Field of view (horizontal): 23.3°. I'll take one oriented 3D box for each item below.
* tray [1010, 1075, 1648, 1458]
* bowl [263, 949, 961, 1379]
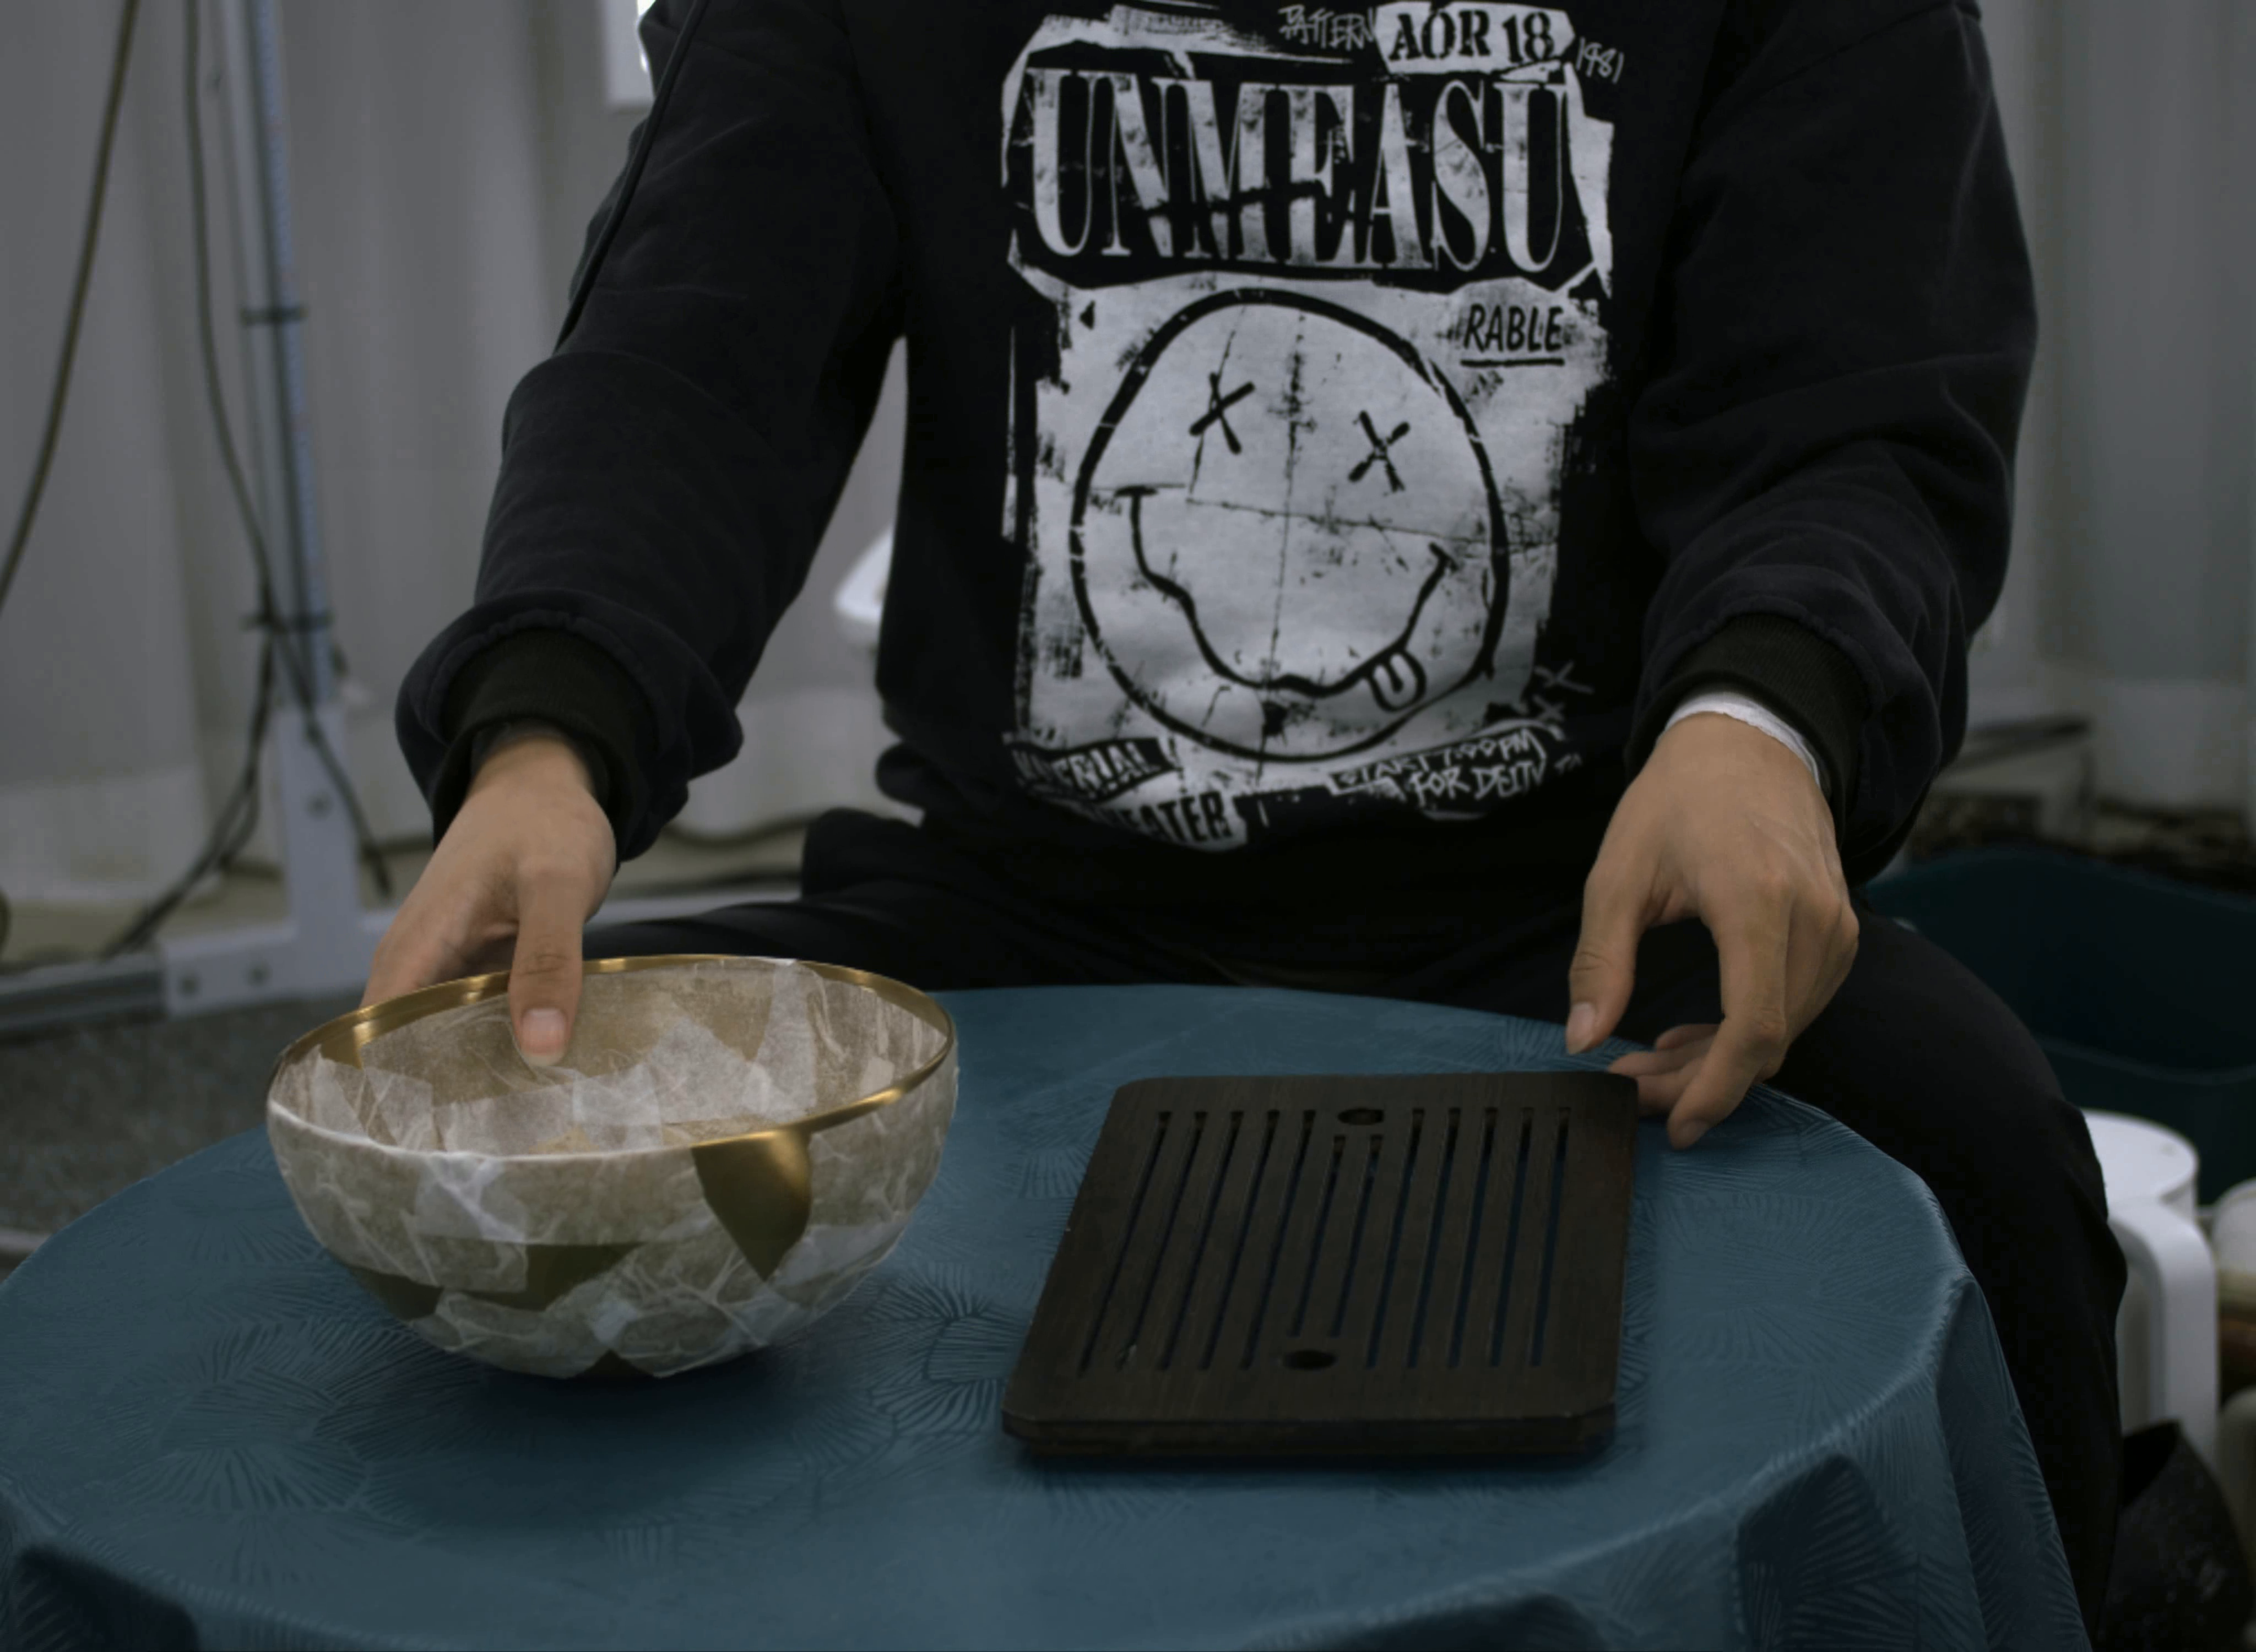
[{"bbox_3d":[0.067,0.128,1.618,0.170,0.018,0.307,-1,15,7],"label":"tray"},{"bbox_3d":[-0.143,0.106,1.596,0.214,0.094,0.216,-4,14,1],"label":"bowl"}]
